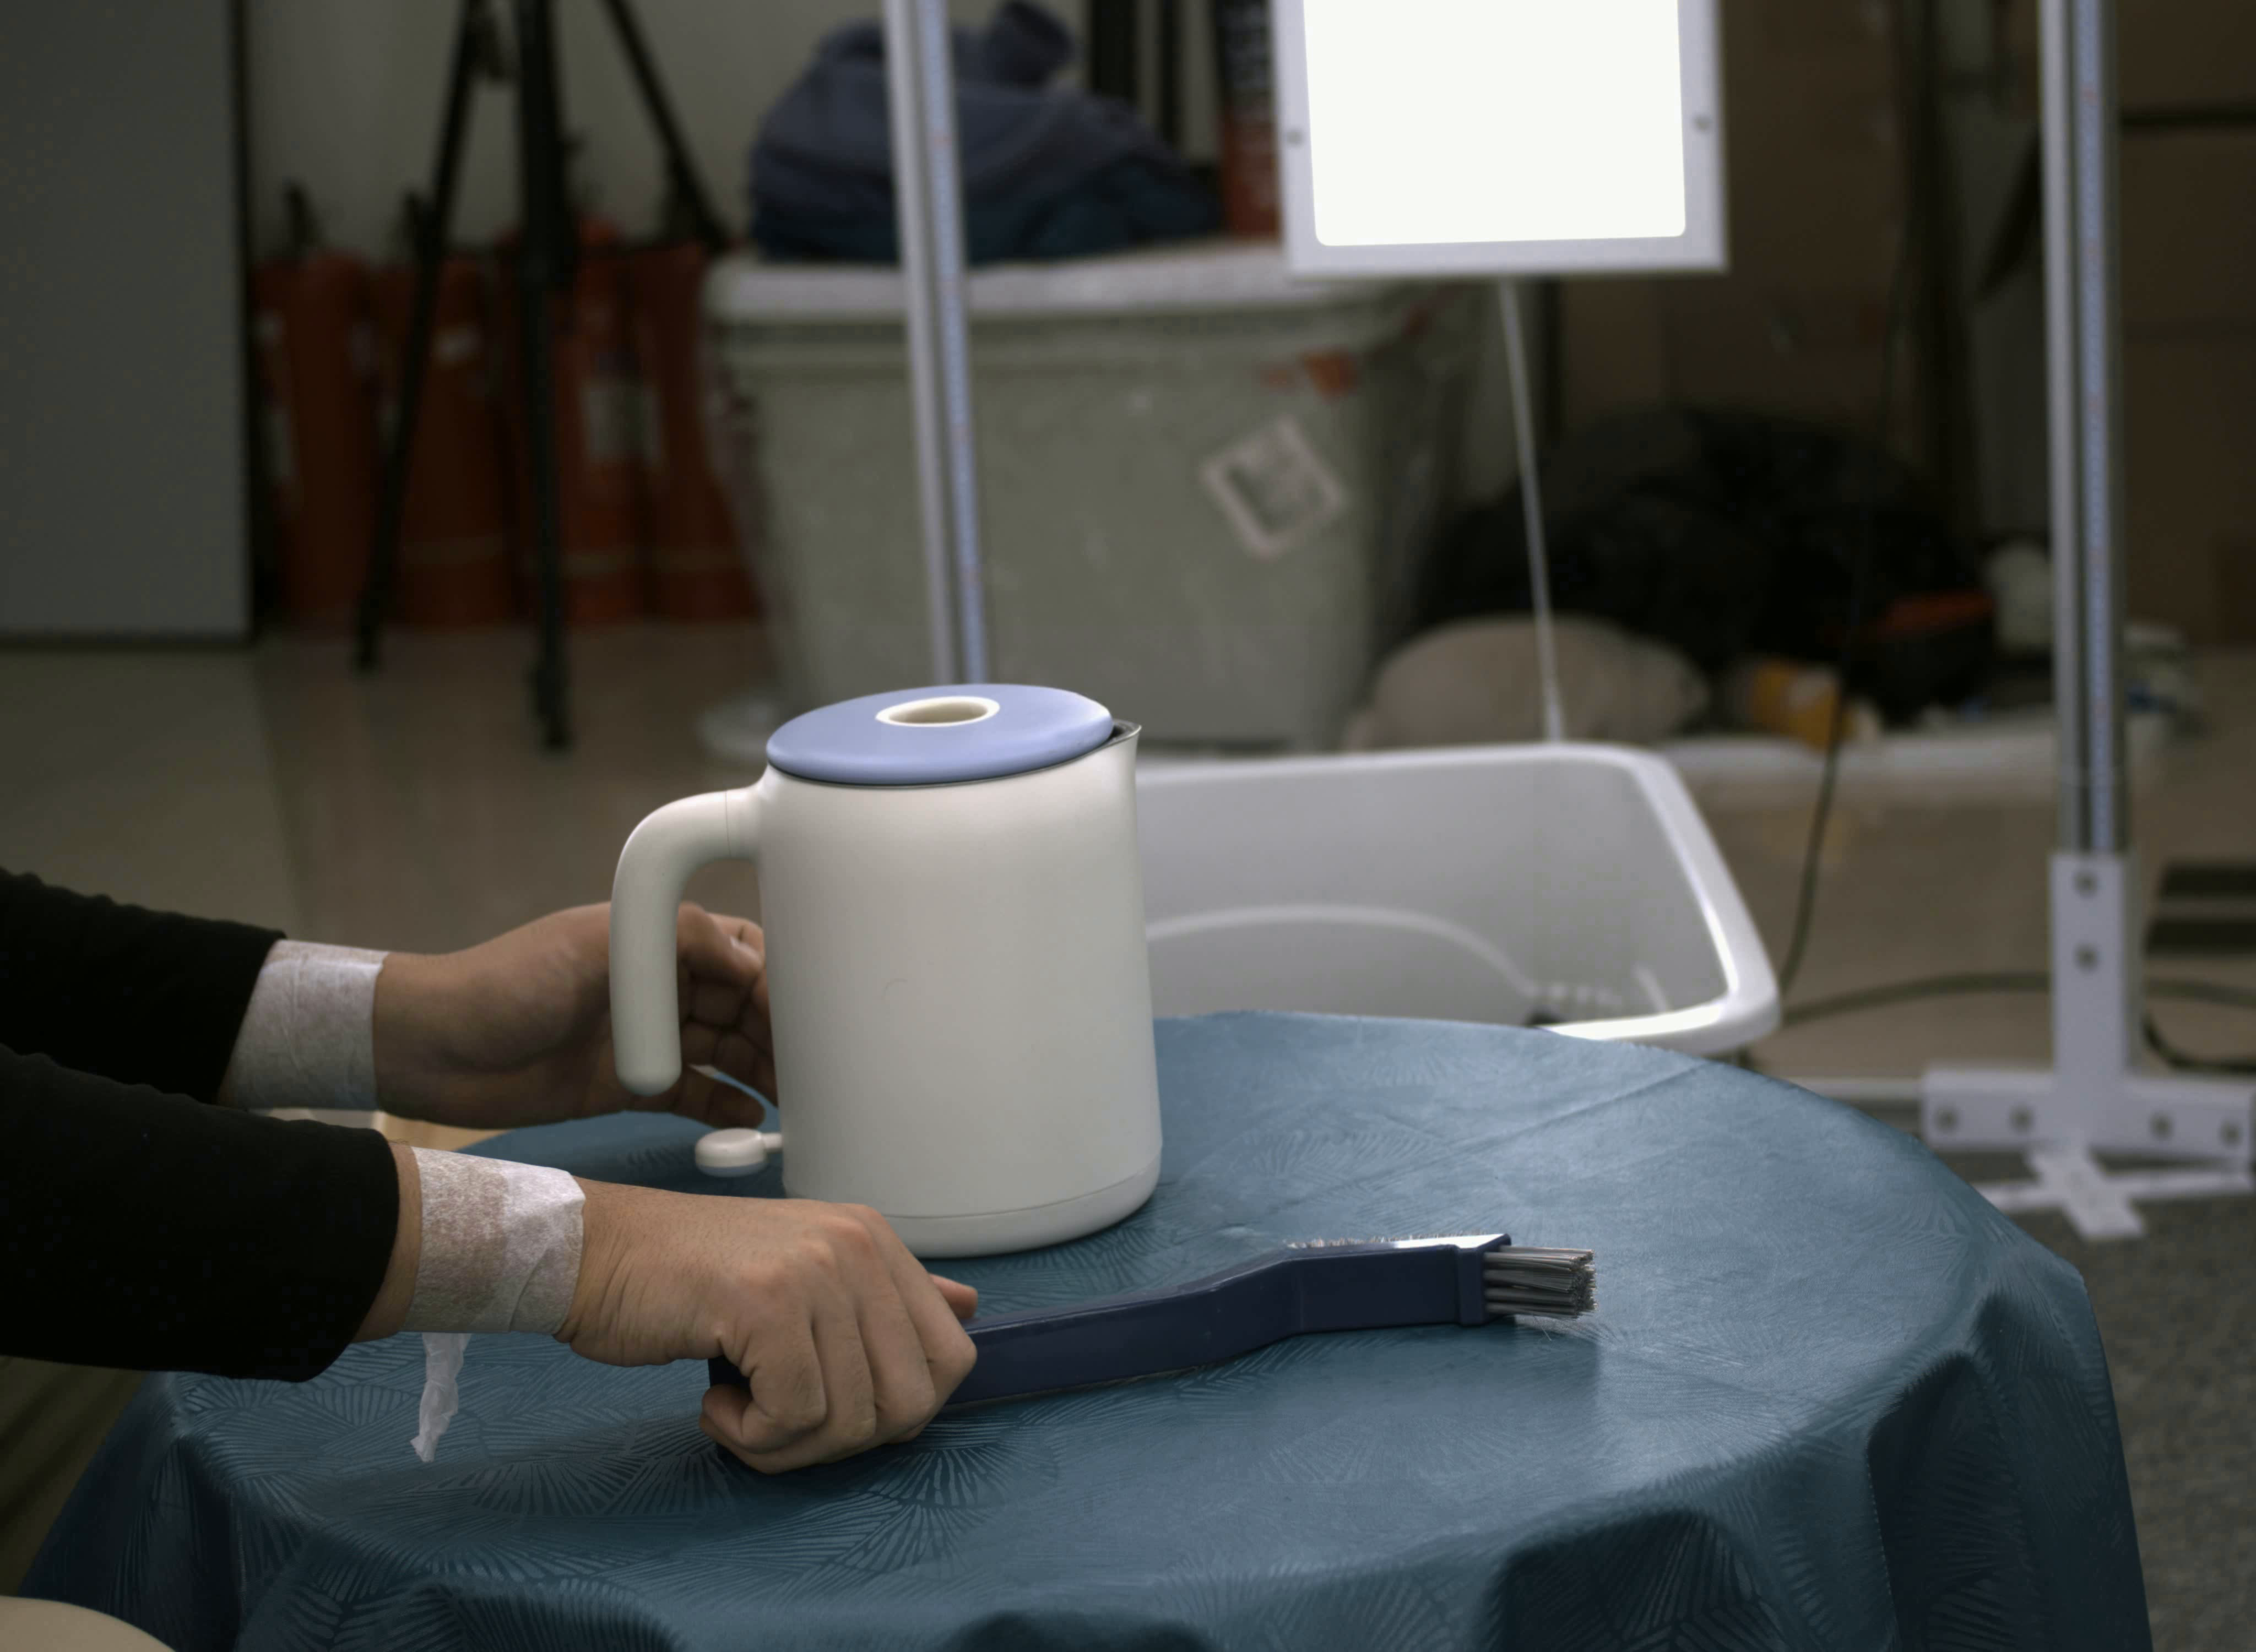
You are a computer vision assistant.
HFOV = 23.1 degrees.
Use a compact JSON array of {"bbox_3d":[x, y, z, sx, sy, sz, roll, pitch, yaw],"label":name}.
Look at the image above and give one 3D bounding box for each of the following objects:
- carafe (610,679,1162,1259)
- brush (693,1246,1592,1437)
[{"bbox_3d":[-0.082,0.050,1.879,0.190,0.183,0.132,-6,13,-1],"label":"carafe"},{"bbox_3d":[0.004,0.158,1.704,0.268,0.033,0.097,-9,17,-20],"label":"brush"}]
